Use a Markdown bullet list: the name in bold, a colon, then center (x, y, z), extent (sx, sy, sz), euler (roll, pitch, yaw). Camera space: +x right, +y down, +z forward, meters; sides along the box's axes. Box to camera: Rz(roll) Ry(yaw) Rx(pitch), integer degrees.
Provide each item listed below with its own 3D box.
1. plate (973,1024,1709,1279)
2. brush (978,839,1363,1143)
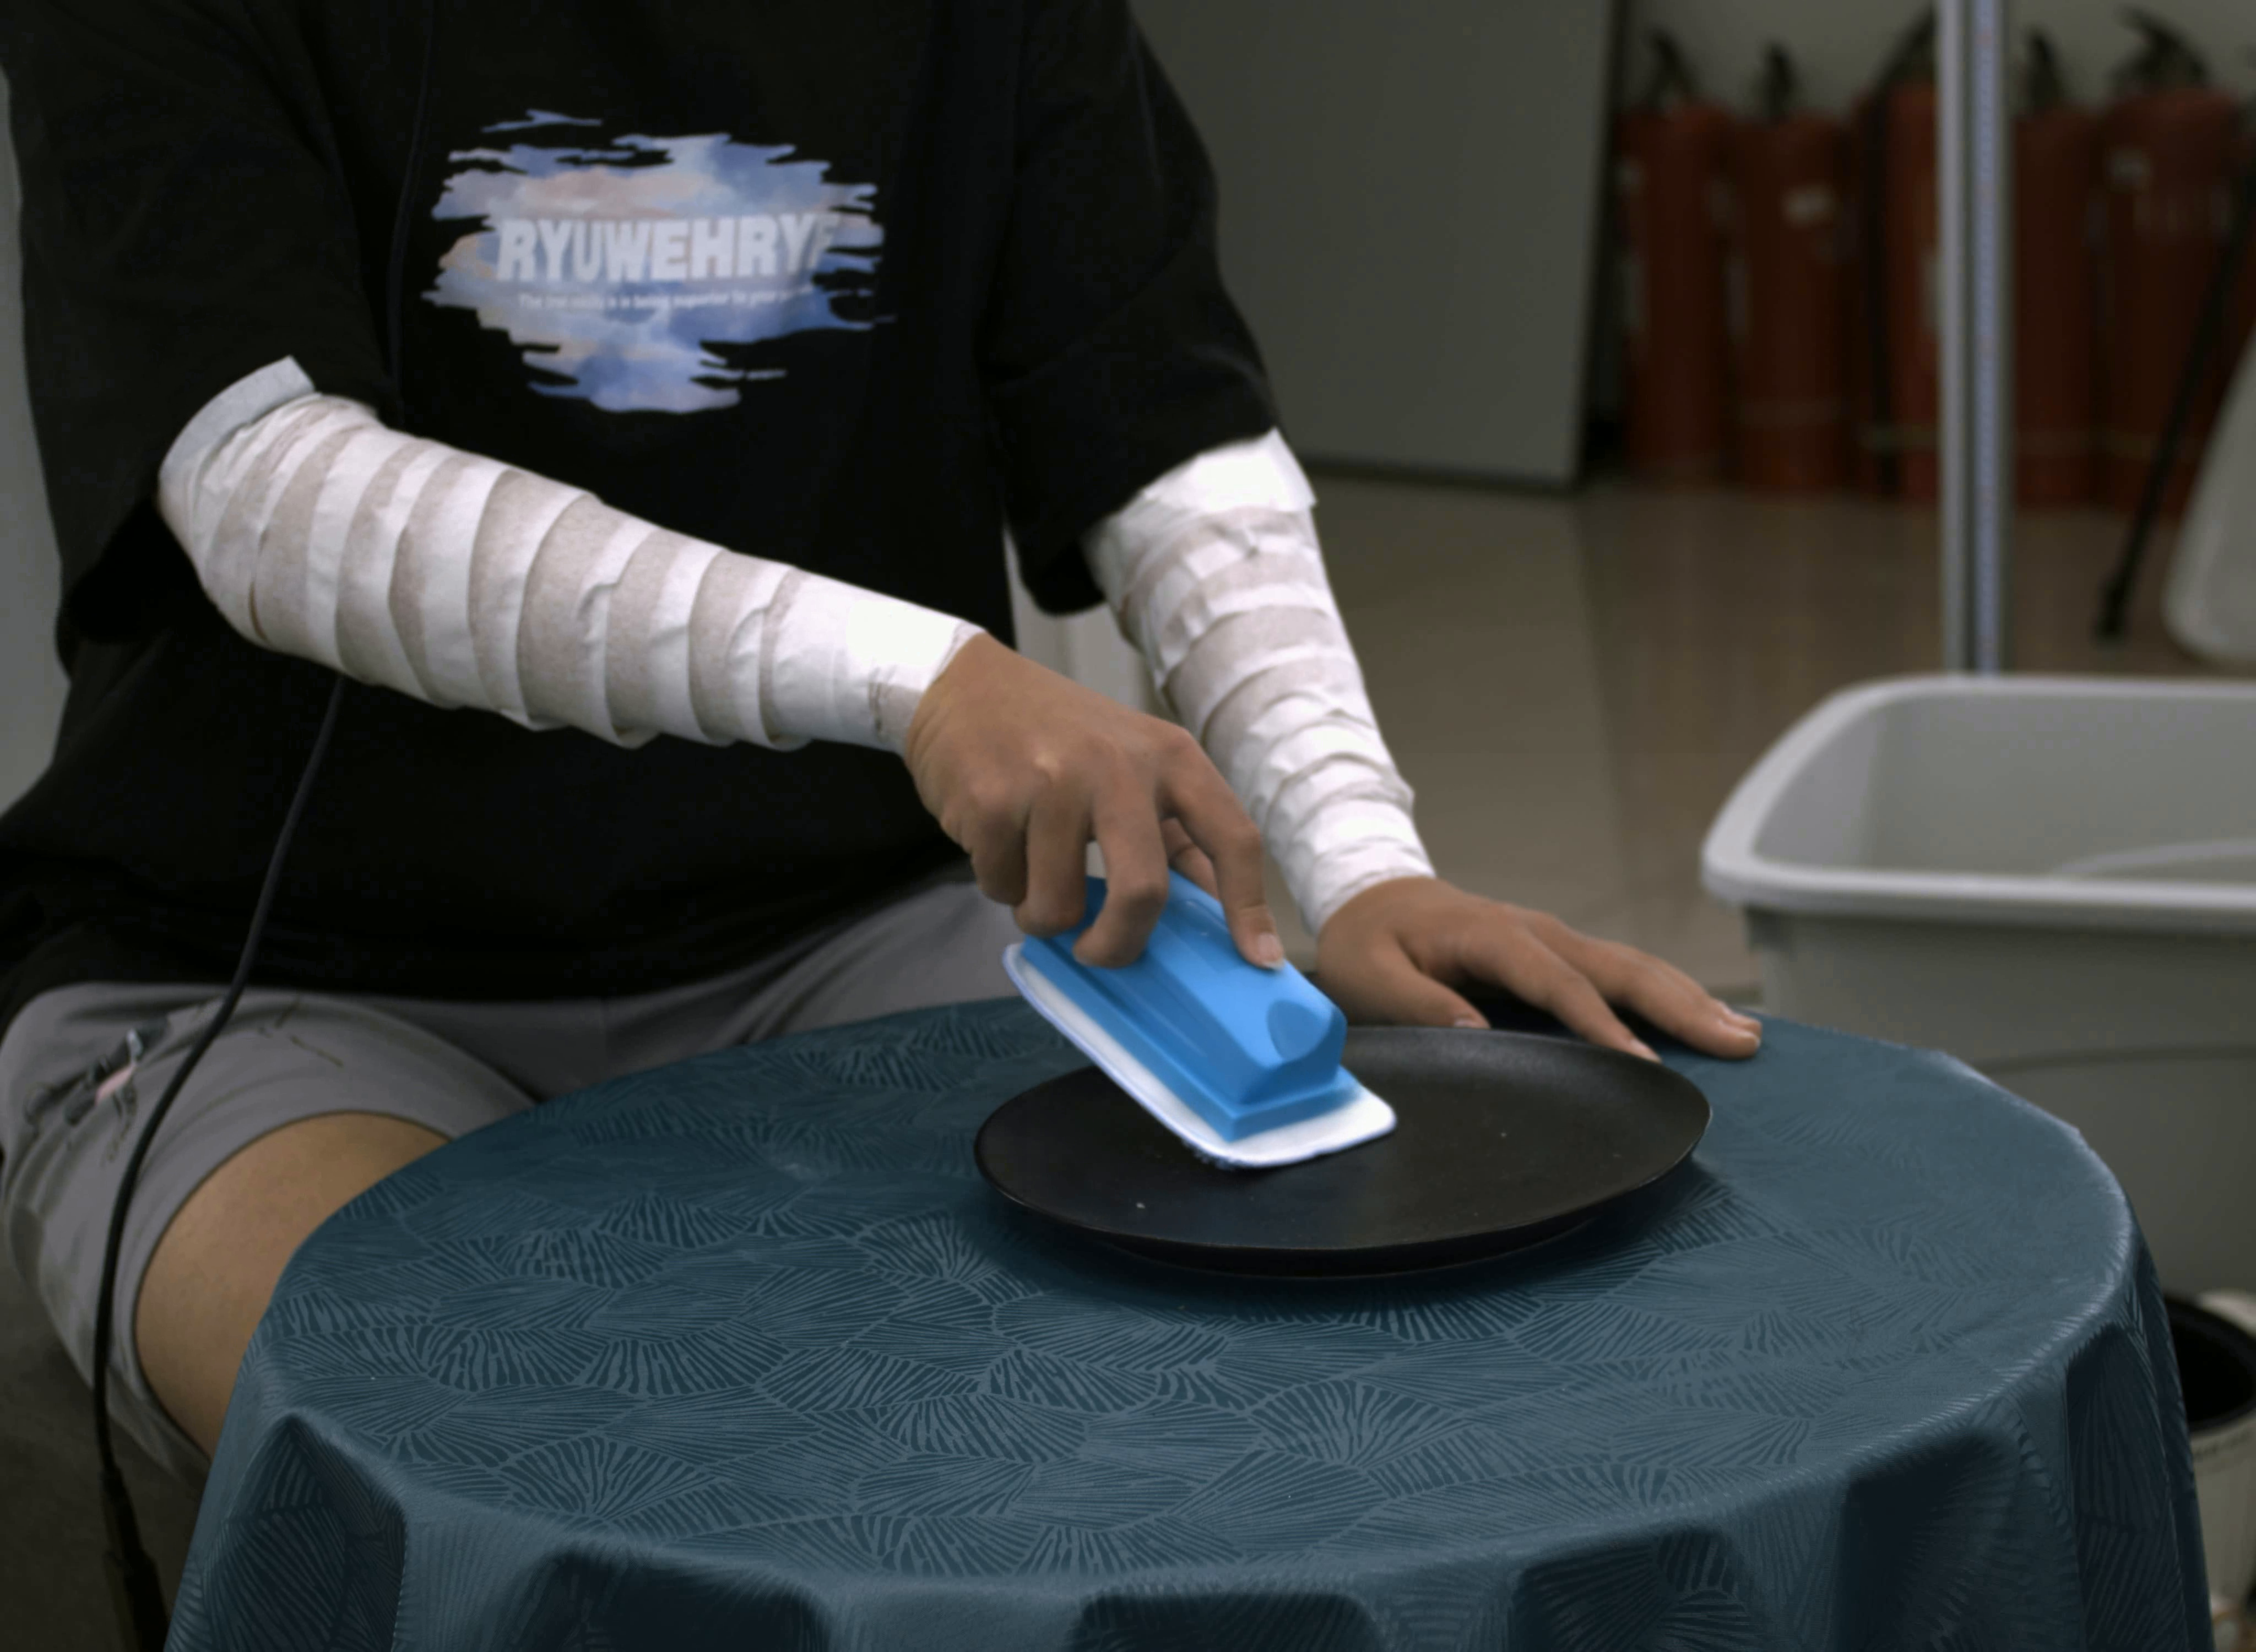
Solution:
- **plate**: center (0.070, 0.108, 1.756), extent (0.241, 0.024, 0.245), euler (-4, 14, 0)
- **brush**: center (0.018, 0.050, 1.806), extent (0.082, 0.056, 0.145), euler (-7, 36, -38)
